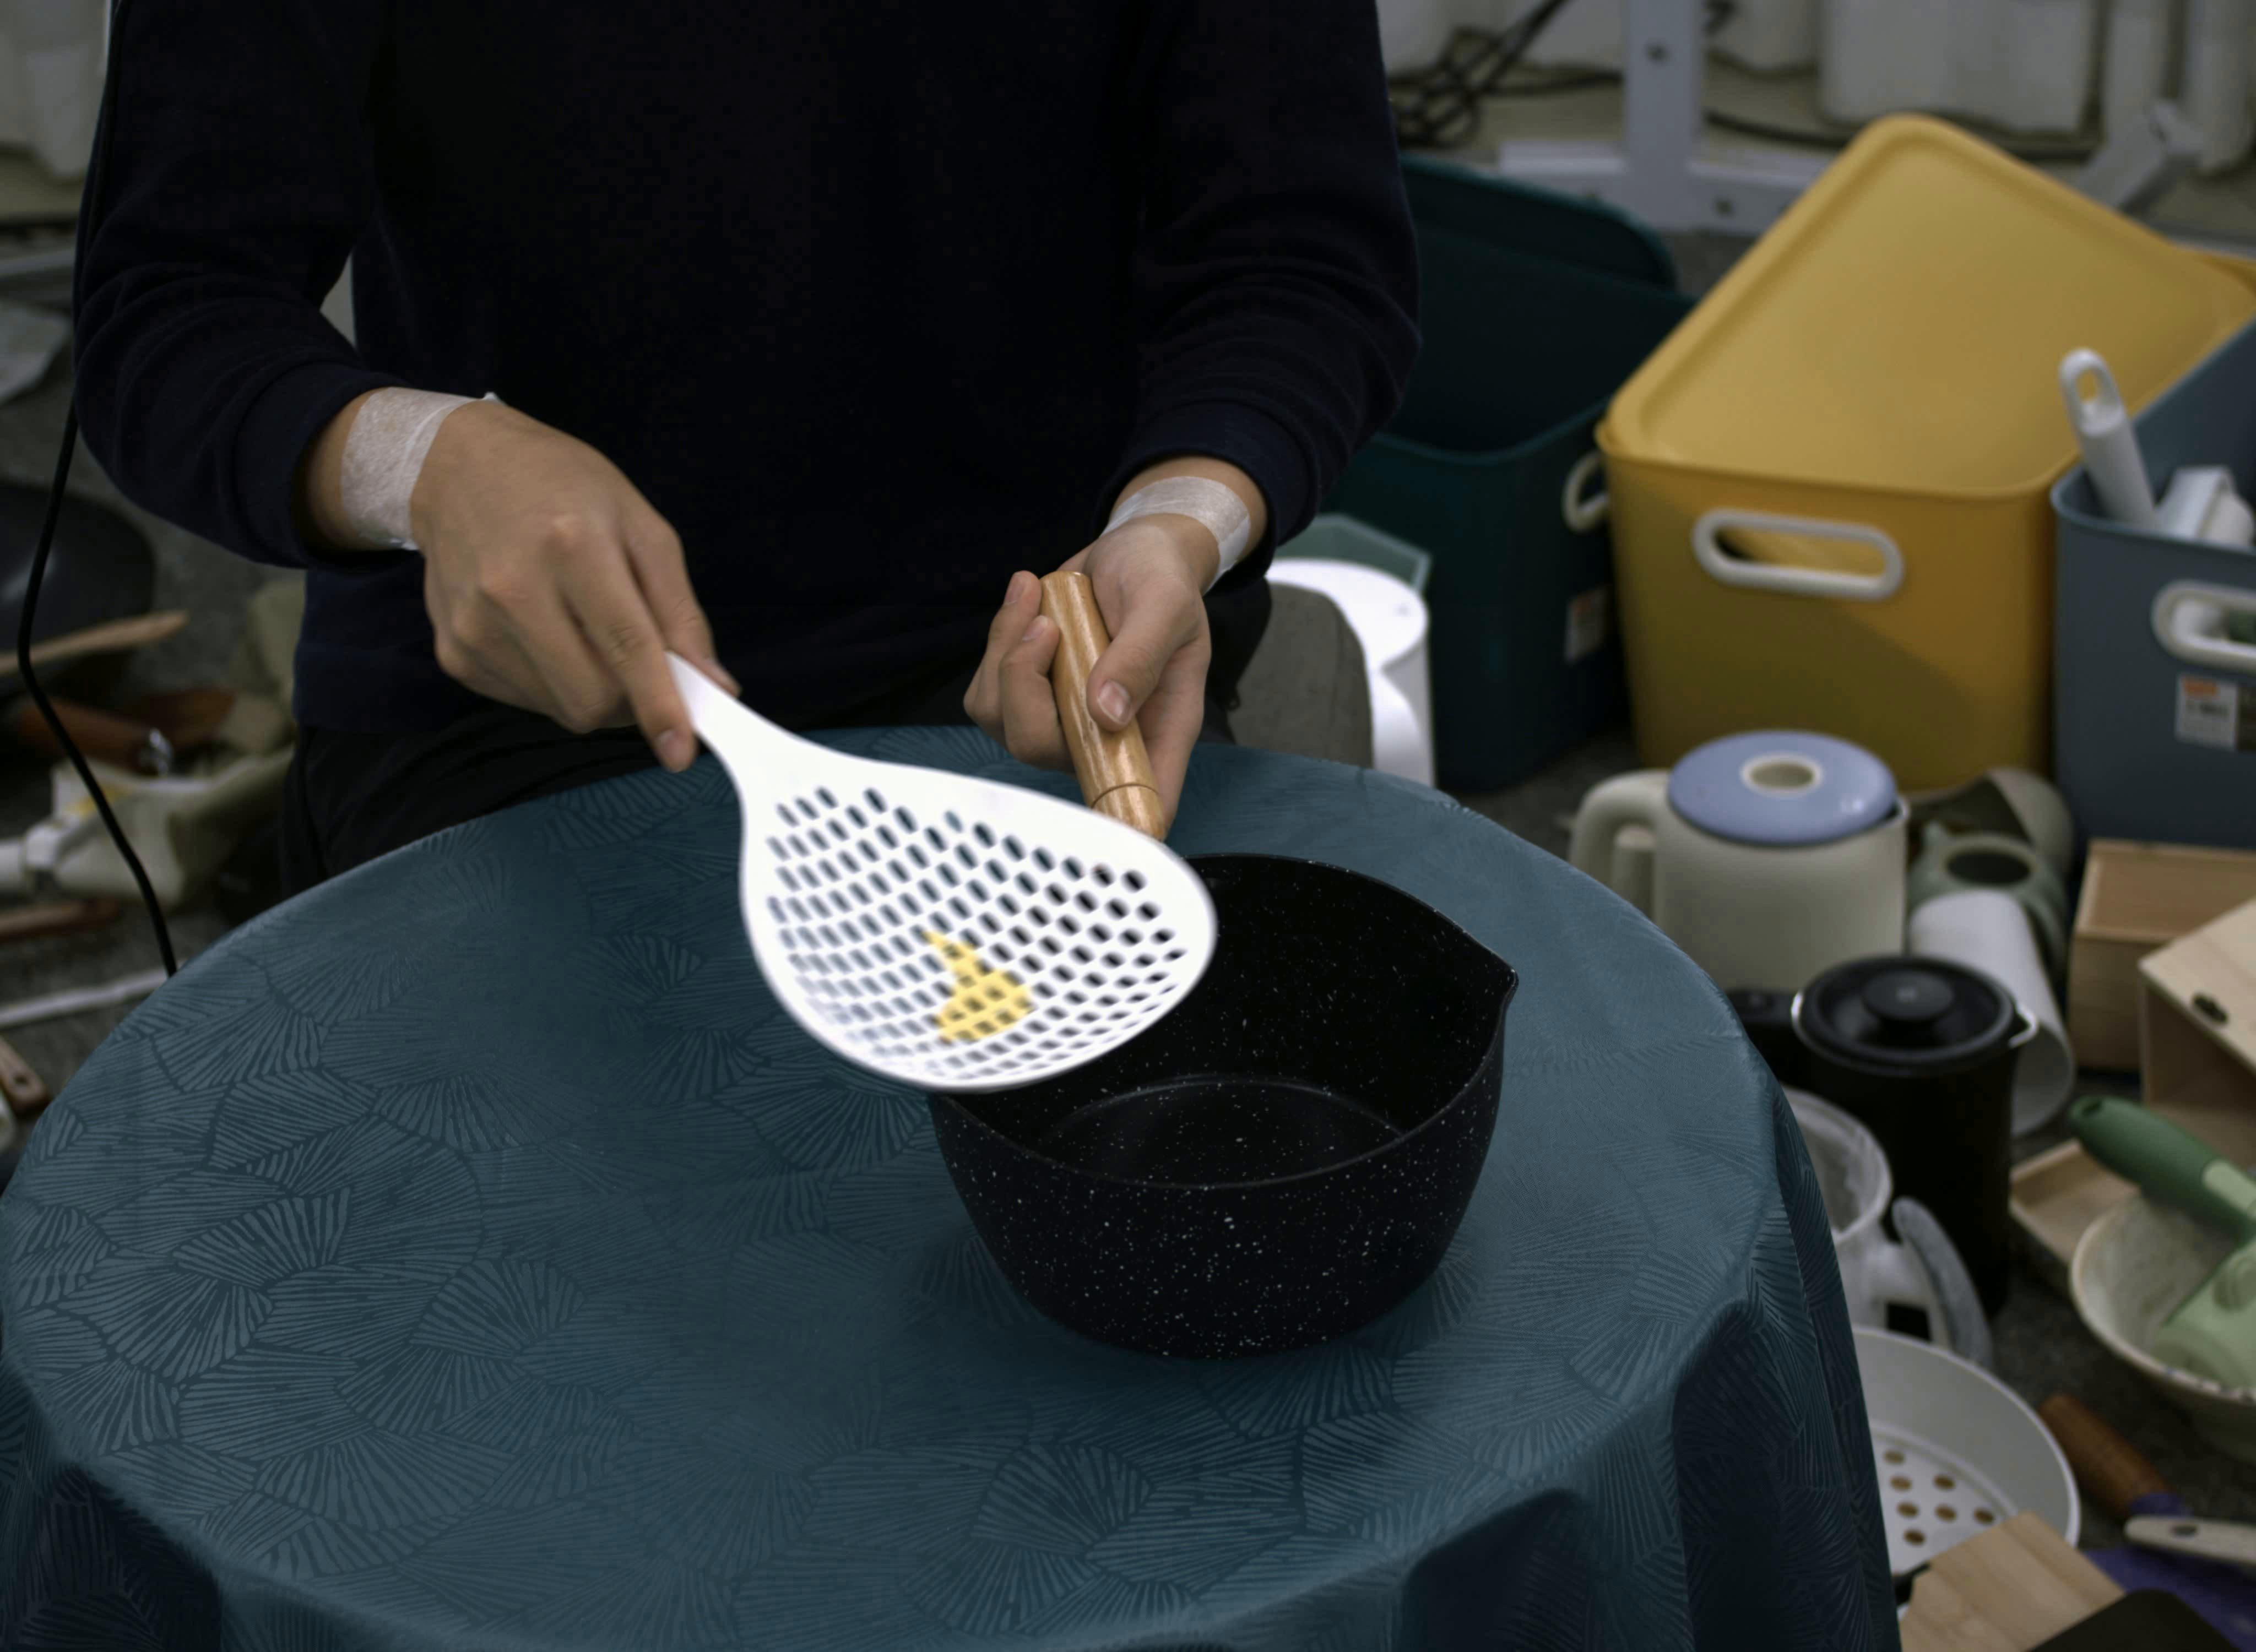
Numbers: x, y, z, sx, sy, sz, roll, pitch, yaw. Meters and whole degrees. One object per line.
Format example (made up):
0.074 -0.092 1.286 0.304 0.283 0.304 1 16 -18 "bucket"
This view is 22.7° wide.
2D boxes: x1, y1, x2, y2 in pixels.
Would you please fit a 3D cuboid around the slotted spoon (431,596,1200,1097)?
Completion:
-0.117 -0.008 1.809 0.138 0.049 0.349 -29 49 -28 "slotted spoon"

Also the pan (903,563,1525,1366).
0.011 0.043 1.871 0.207 0.107 0.347 -10 34 -9 "pan"
